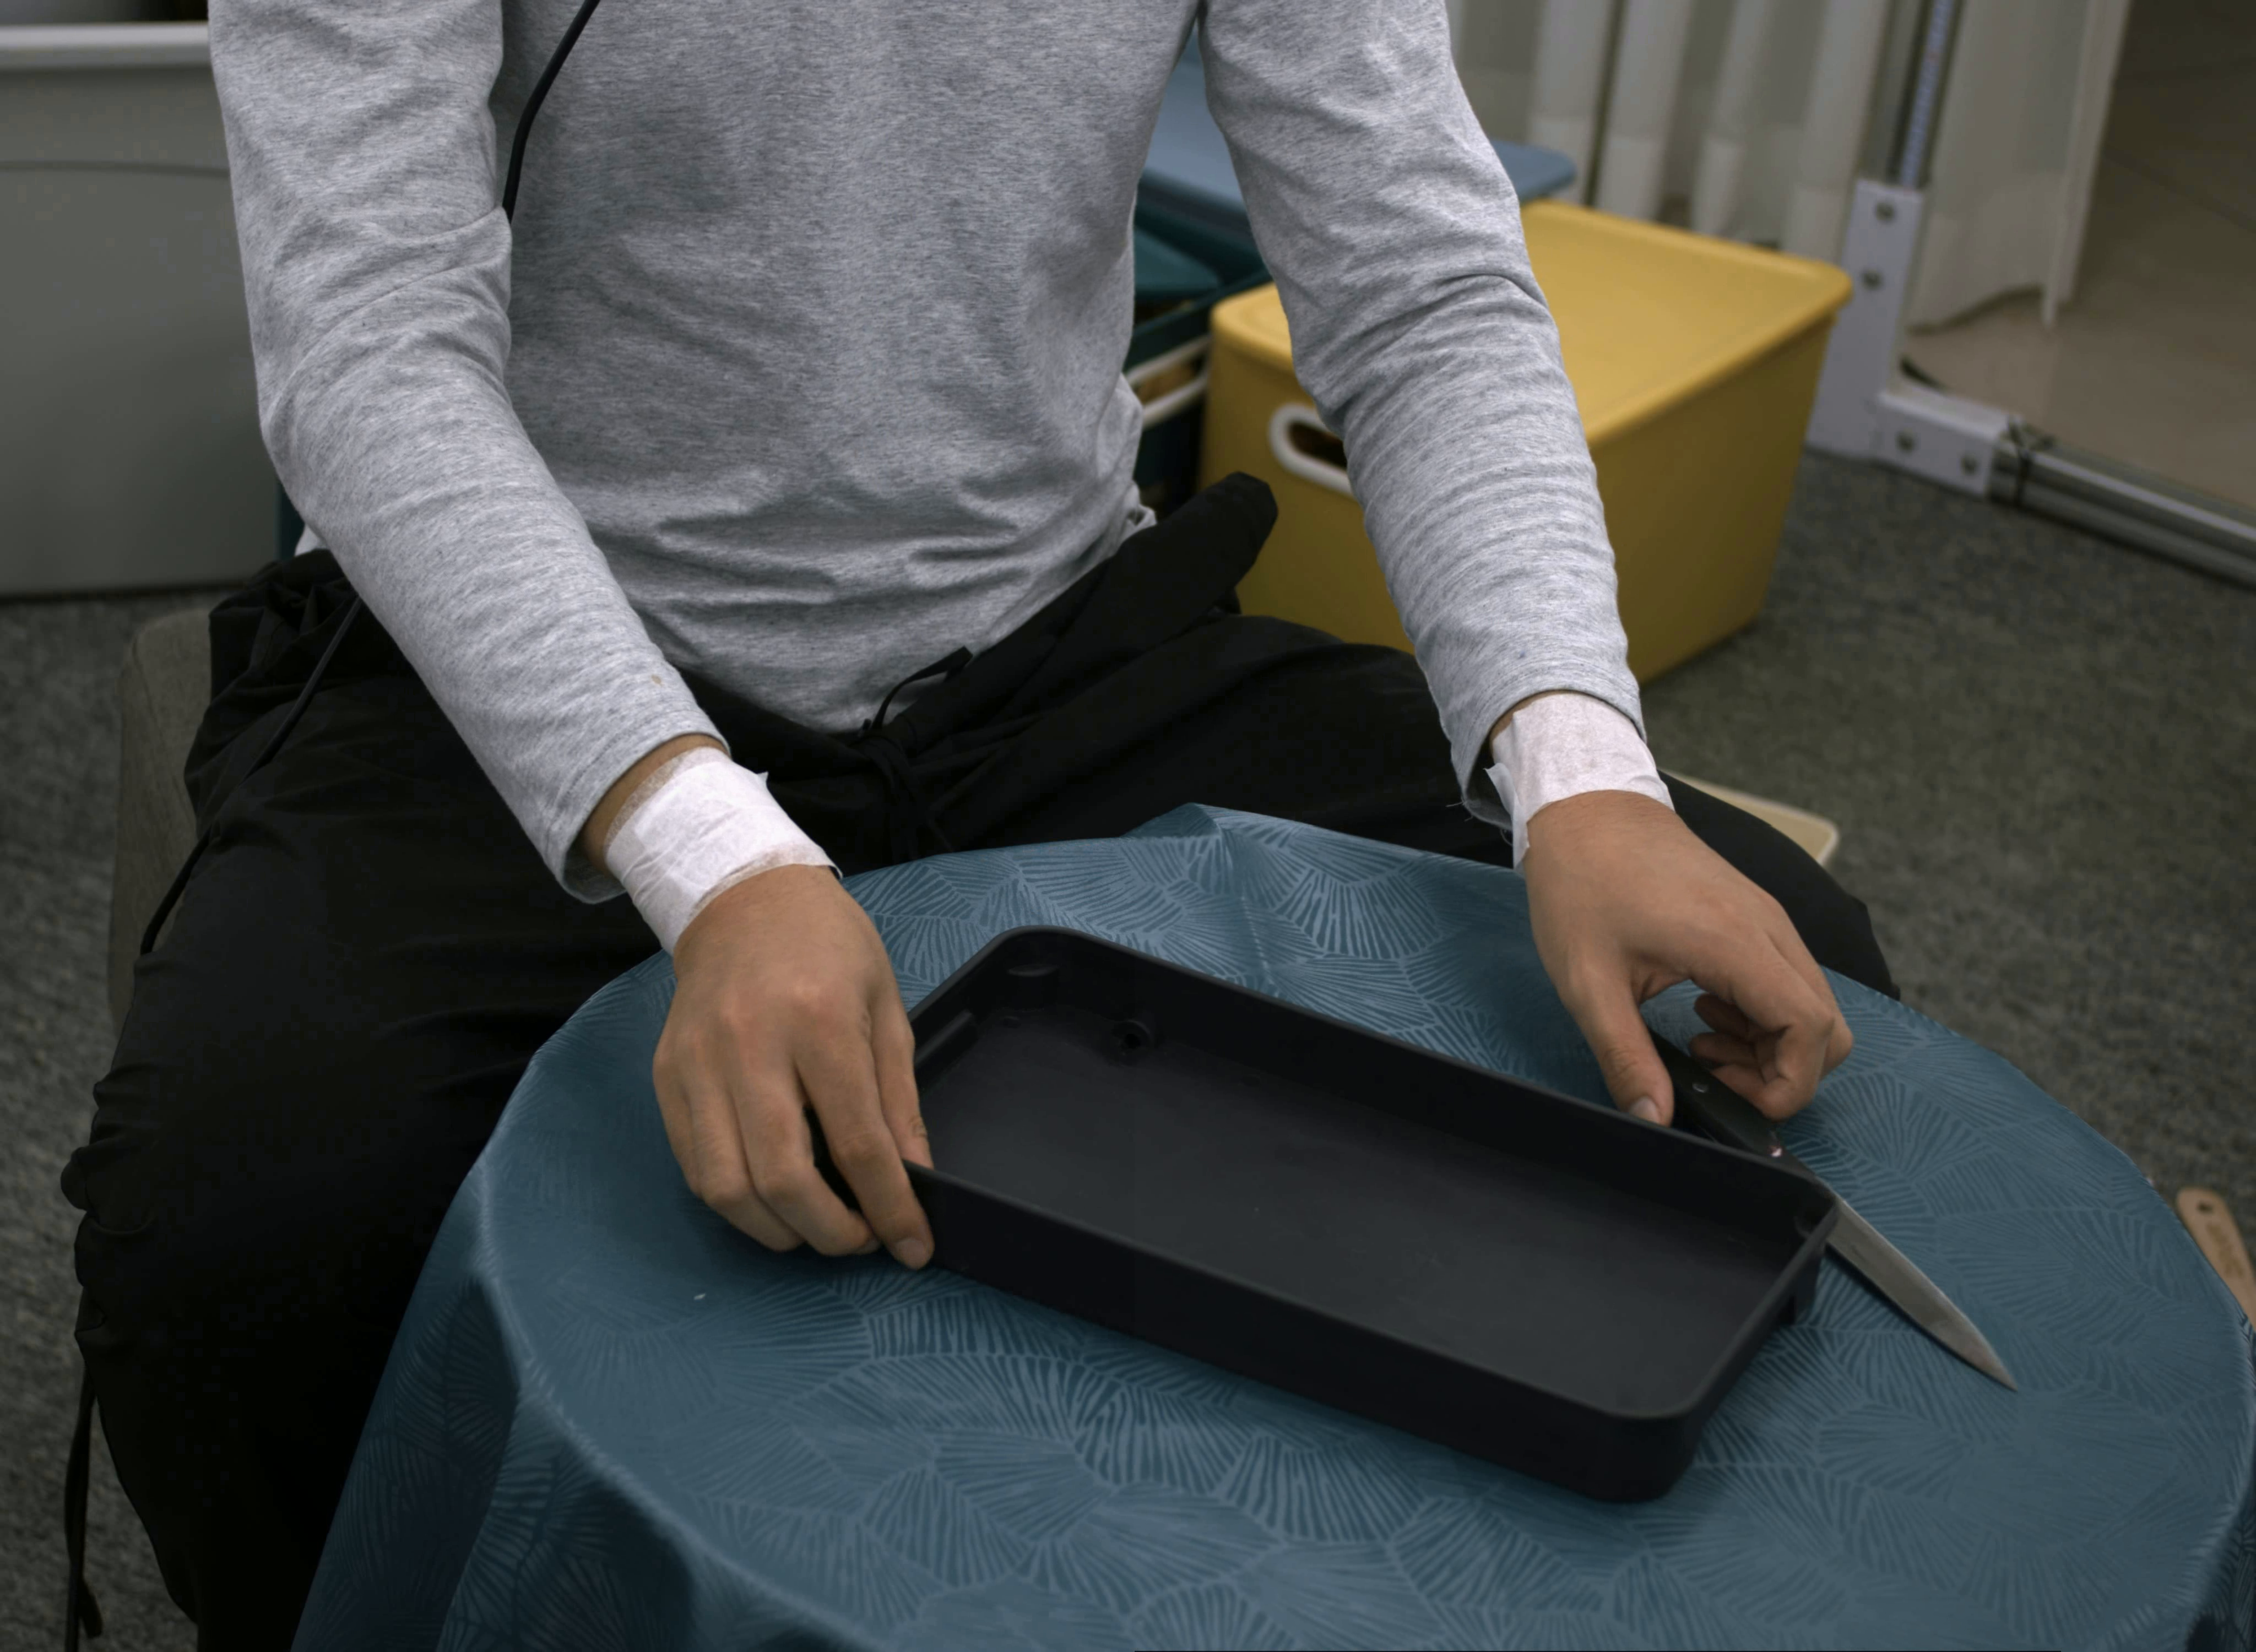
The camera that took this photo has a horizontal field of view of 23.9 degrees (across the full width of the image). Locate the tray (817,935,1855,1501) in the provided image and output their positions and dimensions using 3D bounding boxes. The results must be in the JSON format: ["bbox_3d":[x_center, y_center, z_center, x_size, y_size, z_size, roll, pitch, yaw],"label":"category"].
[{"bbox_3d":[0.069,0.126,1.776,0.319,0.037,0.184,17,28,20],"label":"tray"}]

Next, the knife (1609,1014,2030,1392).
[{"bbox_3d":[0.235,0.130,1.834,0.024,0.016,0.240,-5,31,-31],"label":"knife"}]
